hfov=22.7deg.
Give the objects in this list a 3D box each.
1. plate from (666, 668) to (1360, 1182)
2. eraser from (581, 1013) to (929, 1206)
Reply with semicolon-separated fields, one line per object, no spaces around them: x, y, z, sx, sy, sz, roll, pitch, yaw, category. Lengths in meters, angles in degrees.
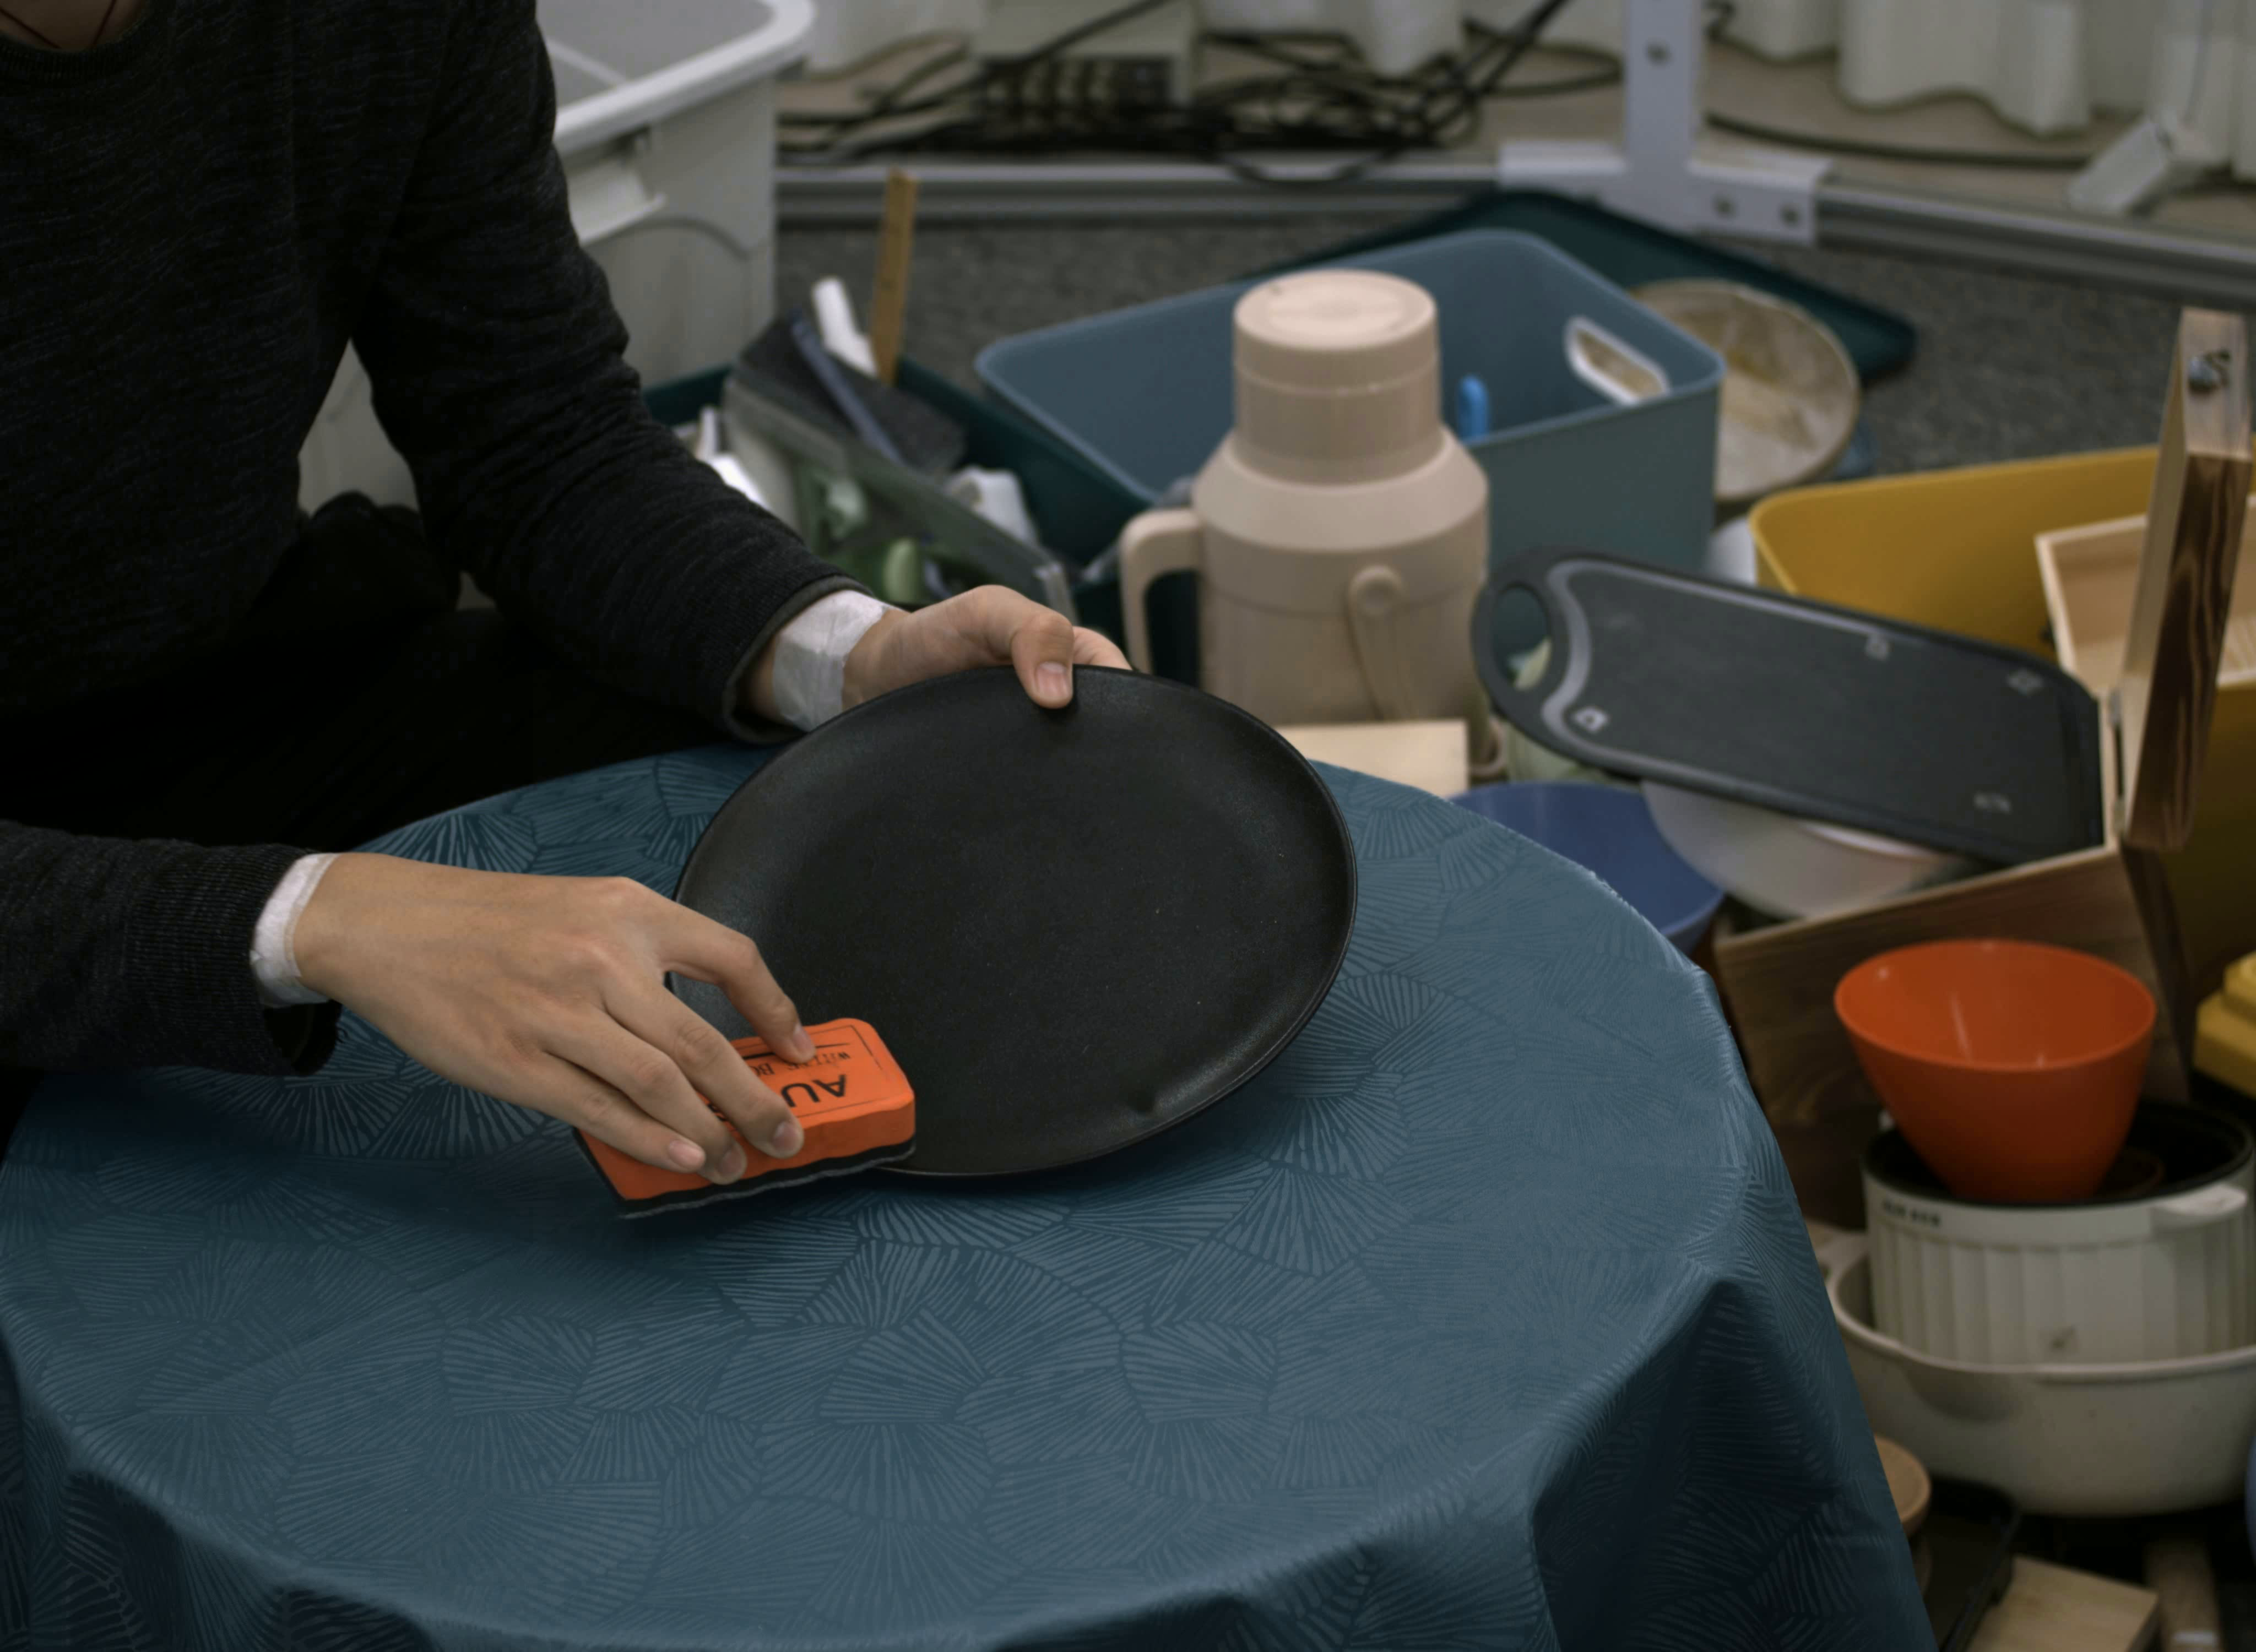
-0.039;0.036;1.949;0.243;0.023;0.249;-5;44;5;plate
-0.124;0.094;1.866;0.108;0.022;0.059;-13;27;-19;eraser
